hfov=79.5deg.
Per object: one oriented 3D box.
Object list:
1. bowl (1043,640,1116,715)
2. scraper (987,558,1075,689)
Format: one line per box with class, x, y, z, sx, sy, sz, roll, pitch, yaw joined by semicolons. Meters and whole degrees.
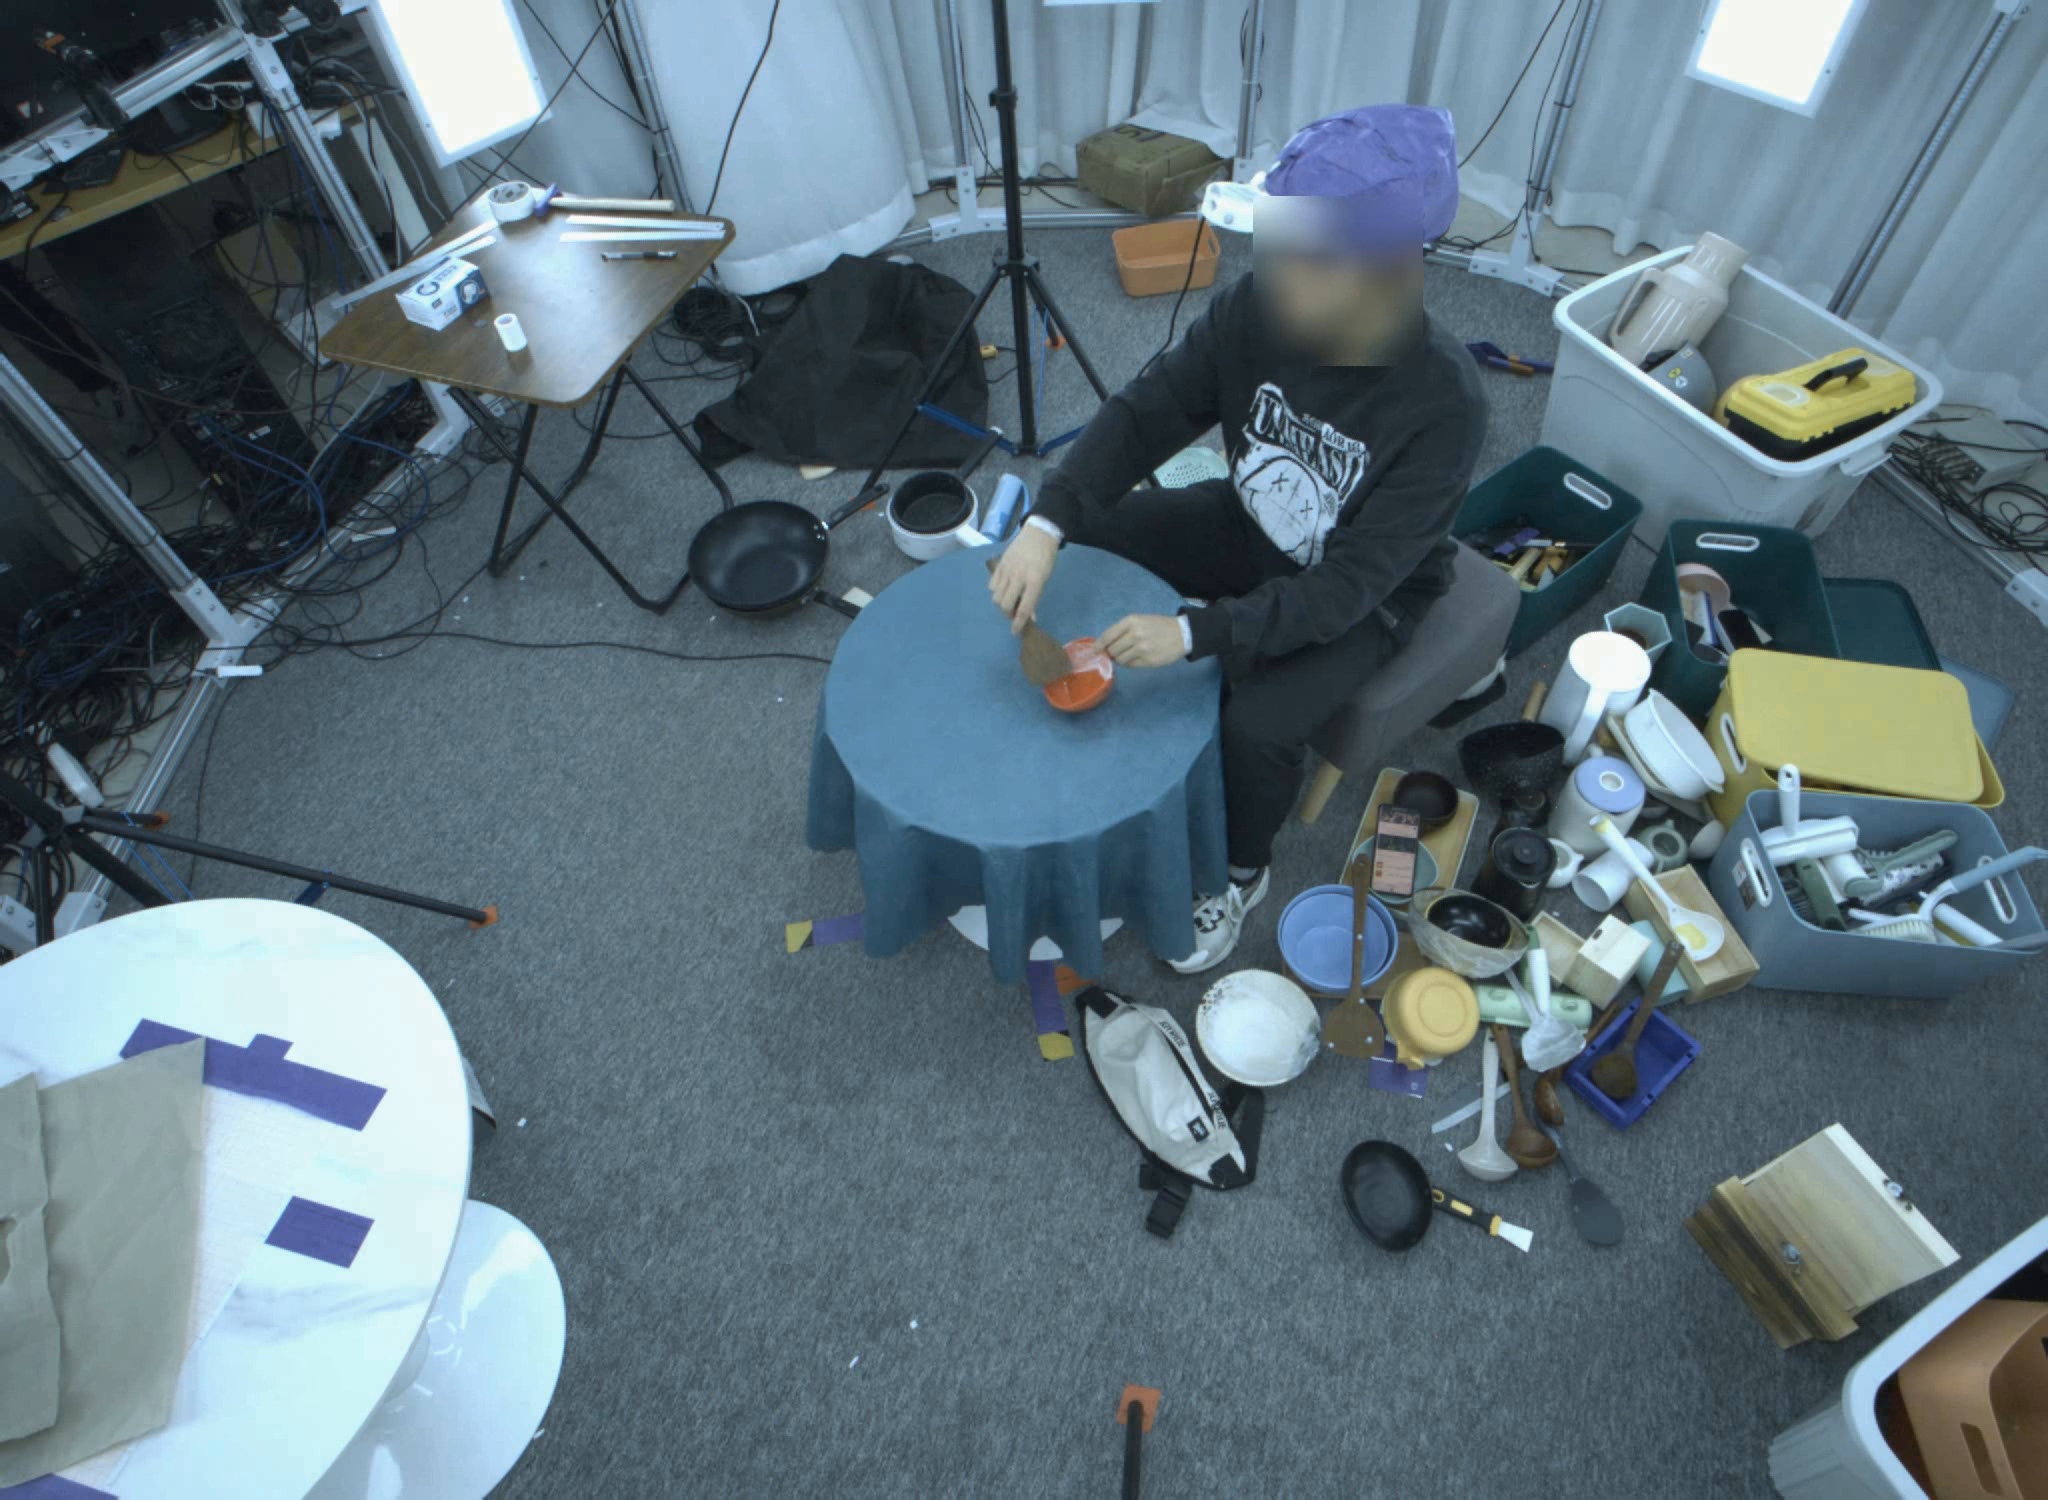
bowl;0.089;-0.100;1.819;0.117;0.052;0.118;-13;60;25
scraper;0.000;-0.189;1.808;0.076;0.011;0.210;-25;85;-21
